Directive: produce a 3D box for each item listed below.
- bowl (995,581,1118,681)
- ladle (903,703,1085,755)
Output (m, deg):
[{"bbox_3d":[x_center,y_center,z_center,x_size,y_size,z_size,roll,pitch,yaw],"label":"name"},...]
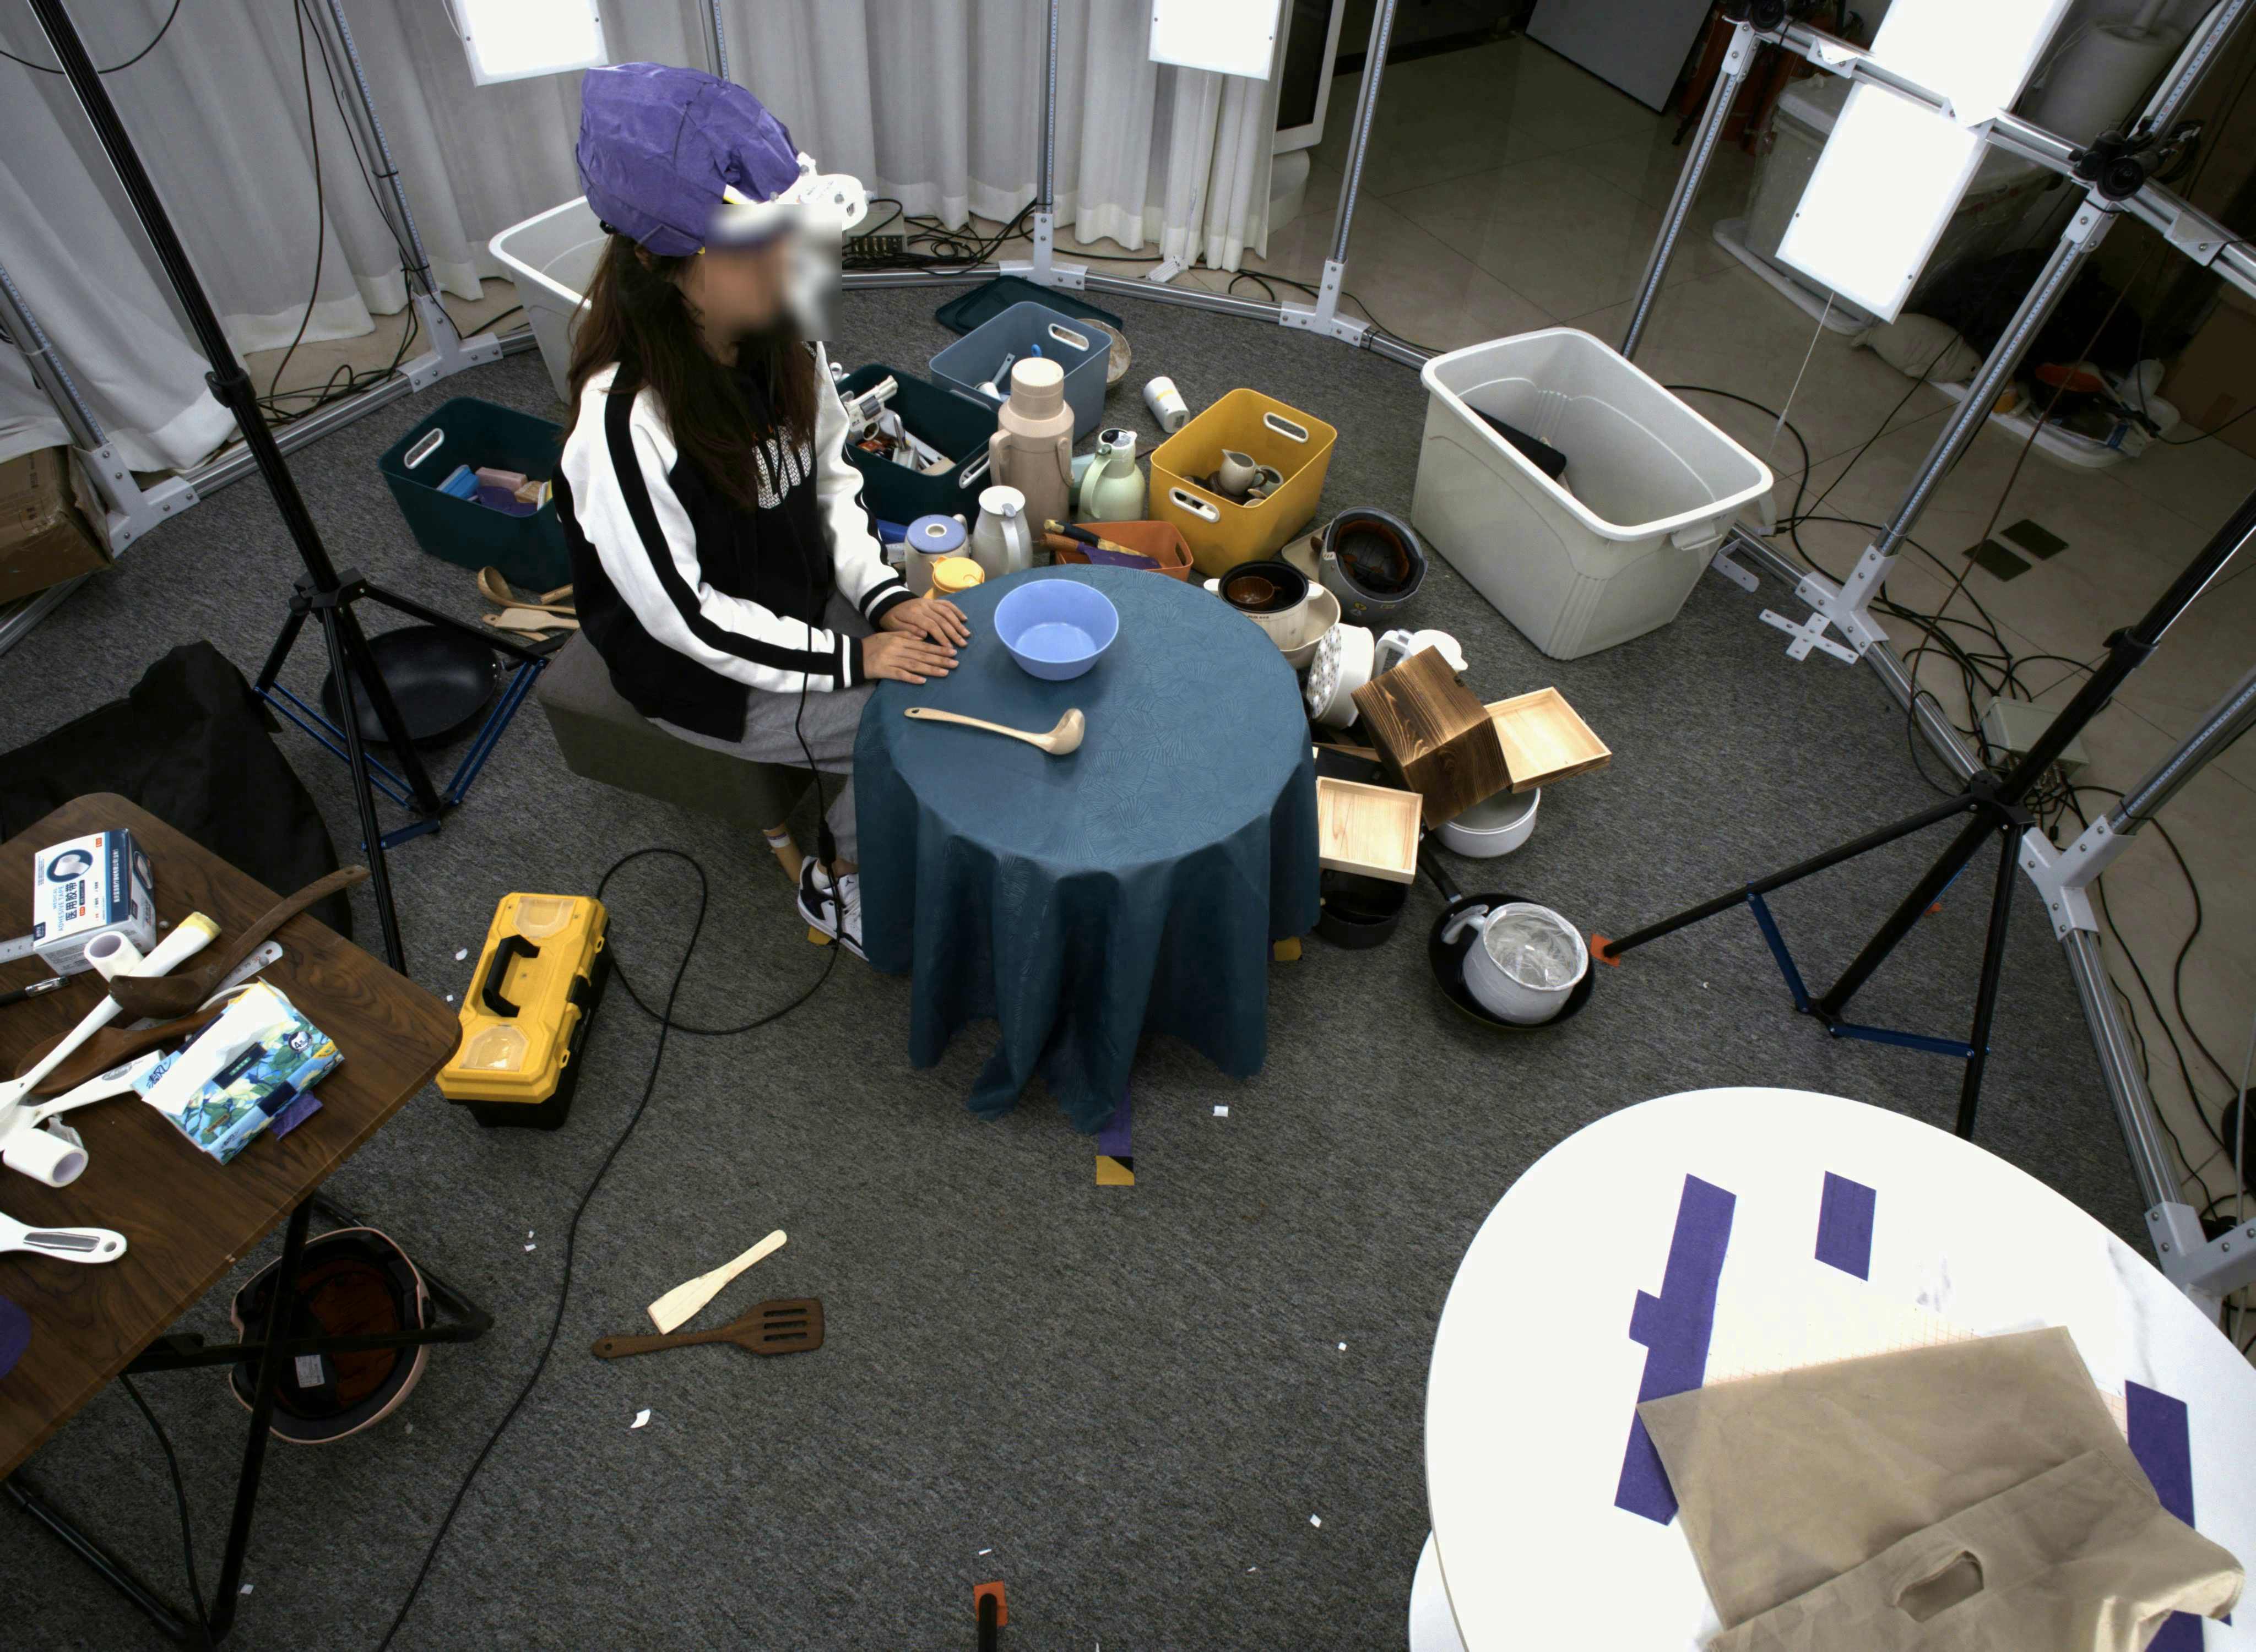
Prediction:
[{"bbox_3d":[-0.104,-0.272,1.854,0.176,0.068,0.180,2,48,-3],"label":"bowl"},{"bbox_3d":[-0.185,-0.151,1.741,0.255,0.071,0.074,11,49,6],"label":"ladle"}]
